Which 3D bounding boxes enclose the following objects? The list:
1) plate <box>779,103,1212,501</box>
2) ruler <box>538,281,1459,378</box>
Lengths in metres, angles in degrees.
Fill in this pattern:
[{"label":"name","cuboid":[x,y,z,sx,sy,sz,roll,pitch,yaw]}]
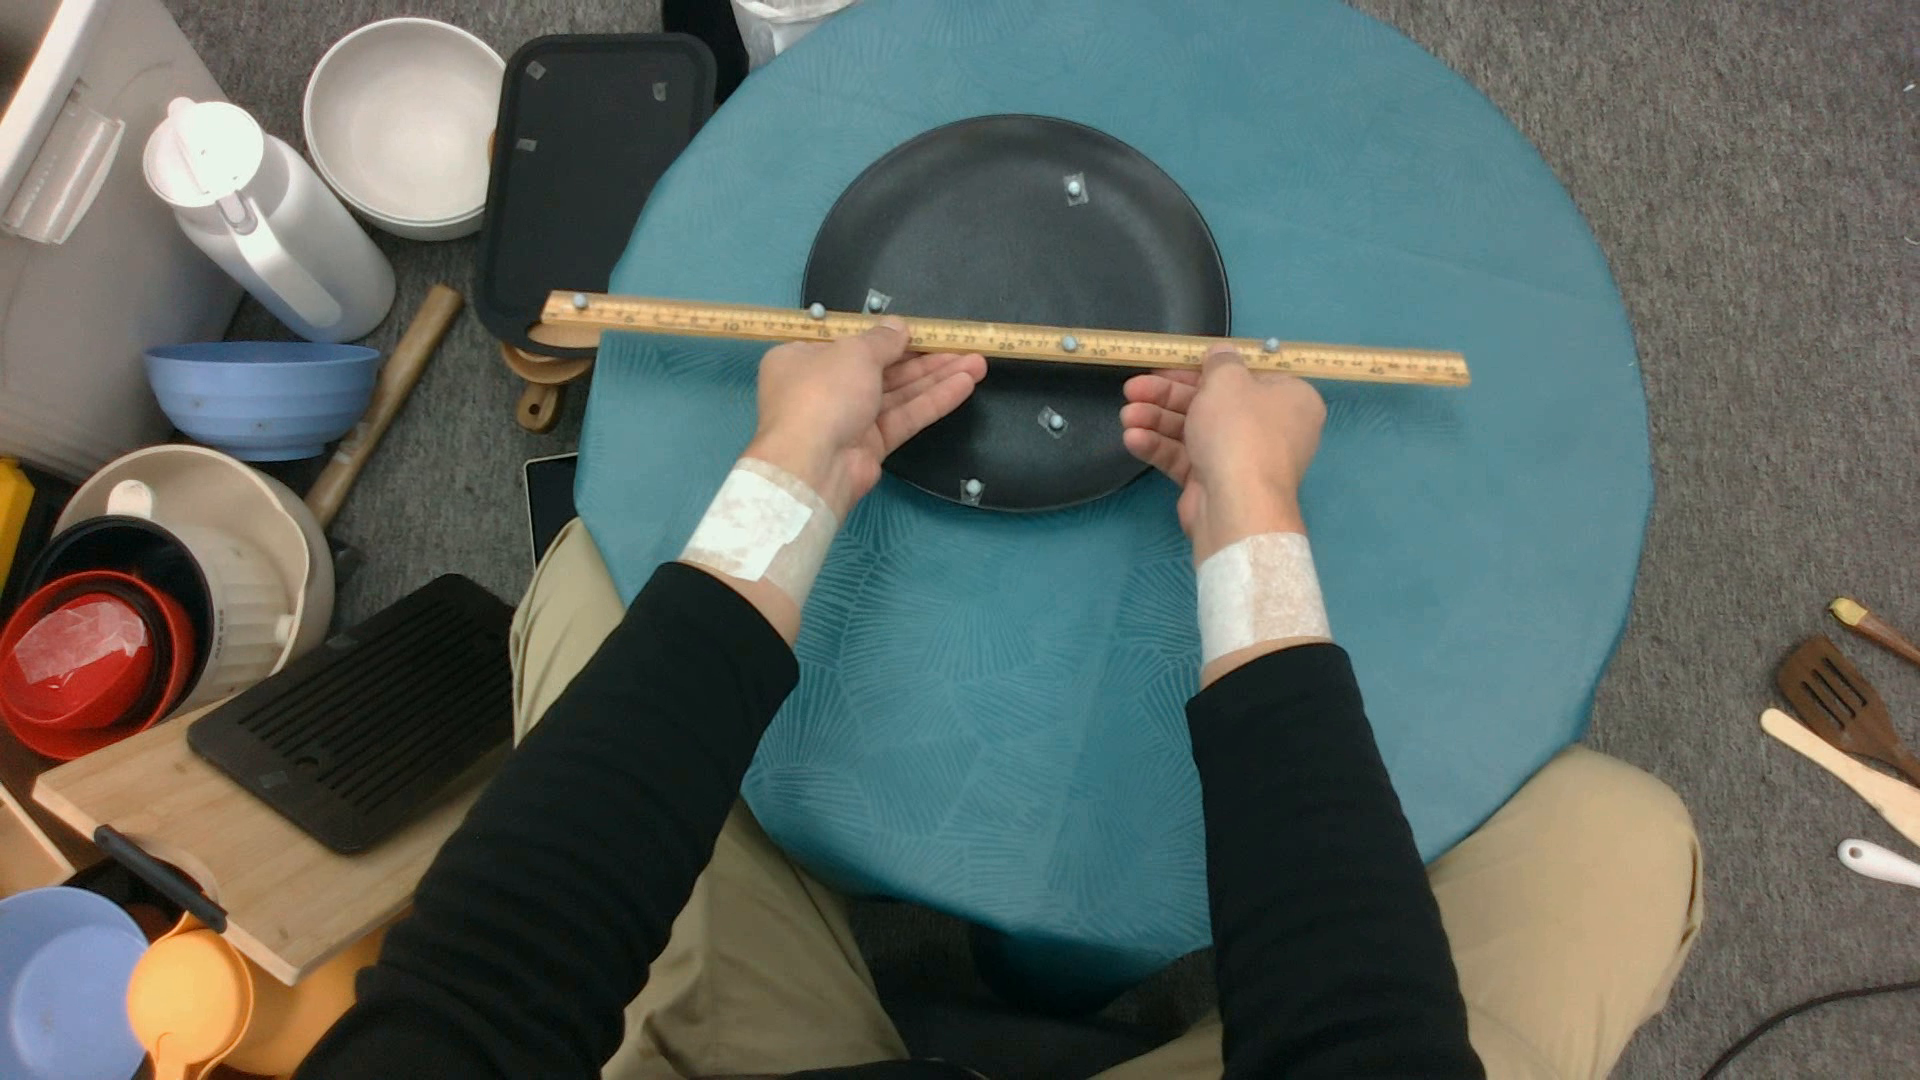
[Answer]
[{"label":"plate","cuboid":[0.020,-0.136,0.781,0.244,0.023,0.245,0,75,-2]},{"label":"ruler","cuboid":[0.022,-0.114,0.750,0.500,0.006,0.027,4,48,0]}]
